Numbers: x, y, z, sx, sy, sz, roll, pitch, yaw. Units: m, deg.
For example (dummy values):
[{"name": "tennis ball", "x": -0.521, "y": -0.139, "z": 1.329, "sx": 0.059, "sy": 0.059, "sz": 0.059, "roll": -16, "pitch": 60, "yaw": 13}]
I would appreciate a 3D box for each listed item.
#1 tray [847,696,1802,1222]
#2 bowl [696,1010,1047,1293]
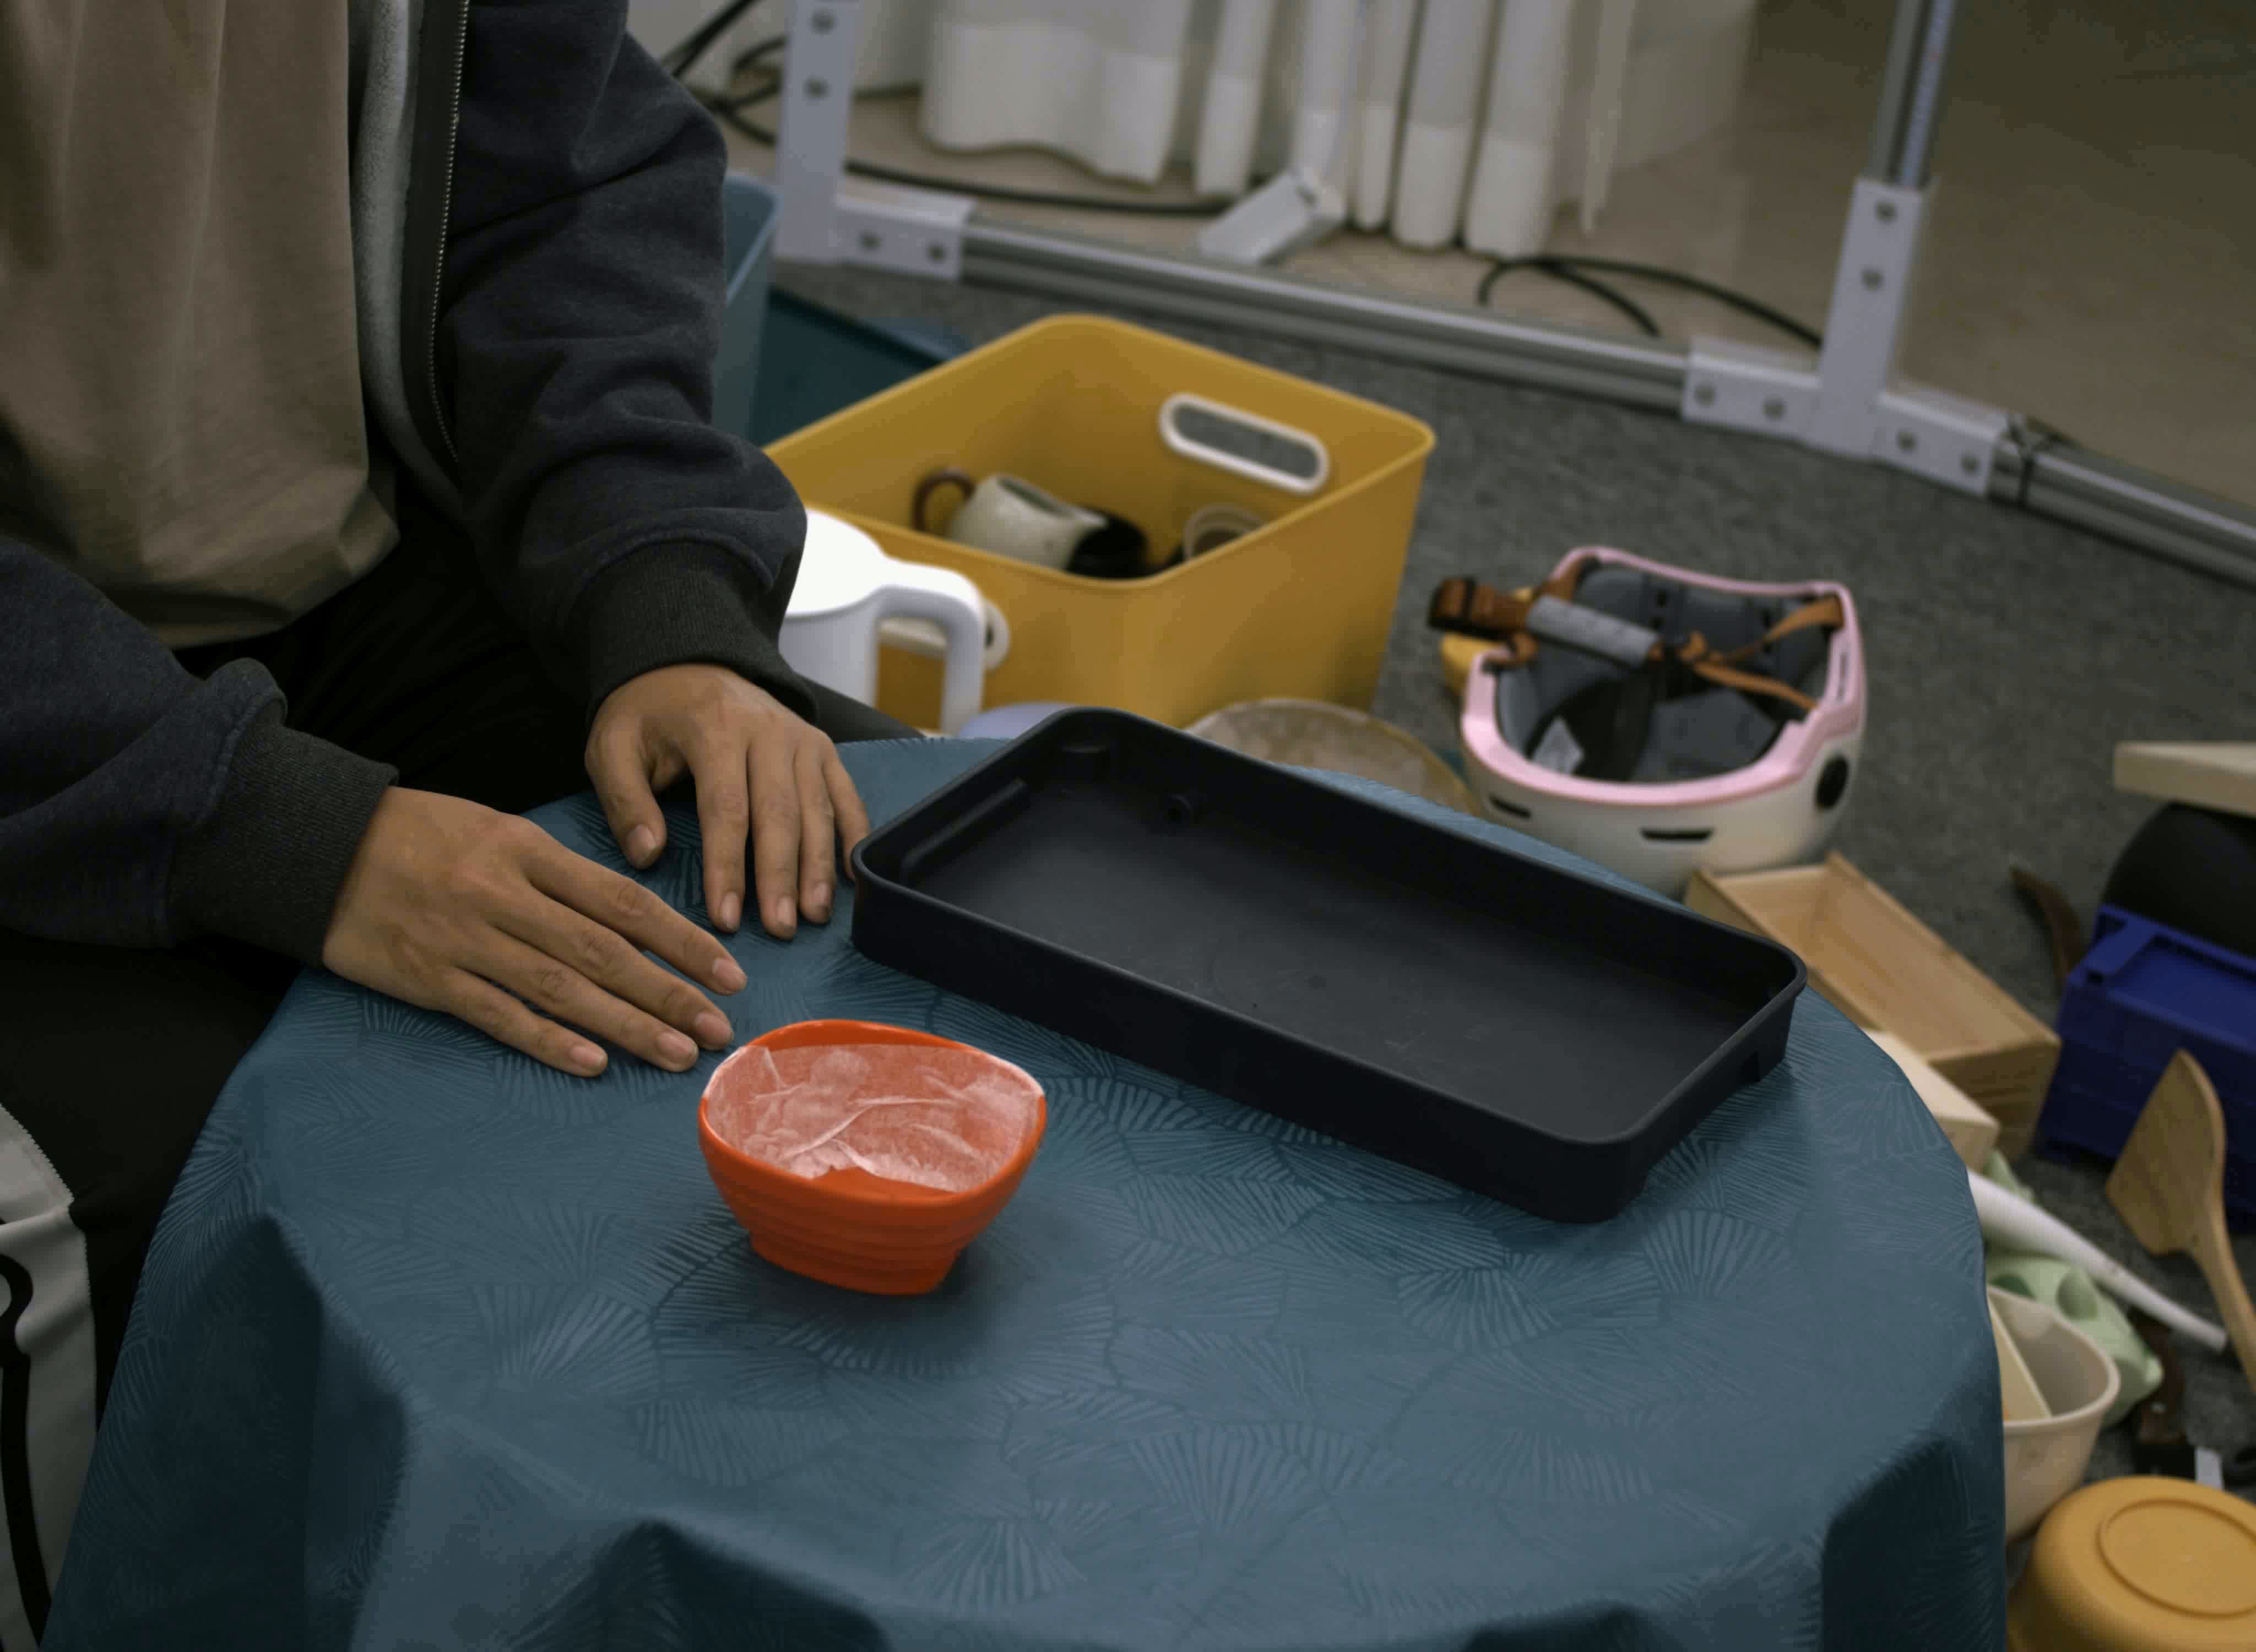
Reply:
[{"name": "tray", "x": 0.069, "y": 0.043, "z": 1.931, "sx": 0.319, "sy": 0.037, "sz": 0.184, "roll": 21, "pitch": 30, "yaw": 24}, {"name": "bowl", "x": -0.086, "y": 0.111, "z": 1.746, "sx": 0.118, "sy": 0.051, "sz": 0.119, "roll": 6, "pitch": 28, "yaw": -4}]
